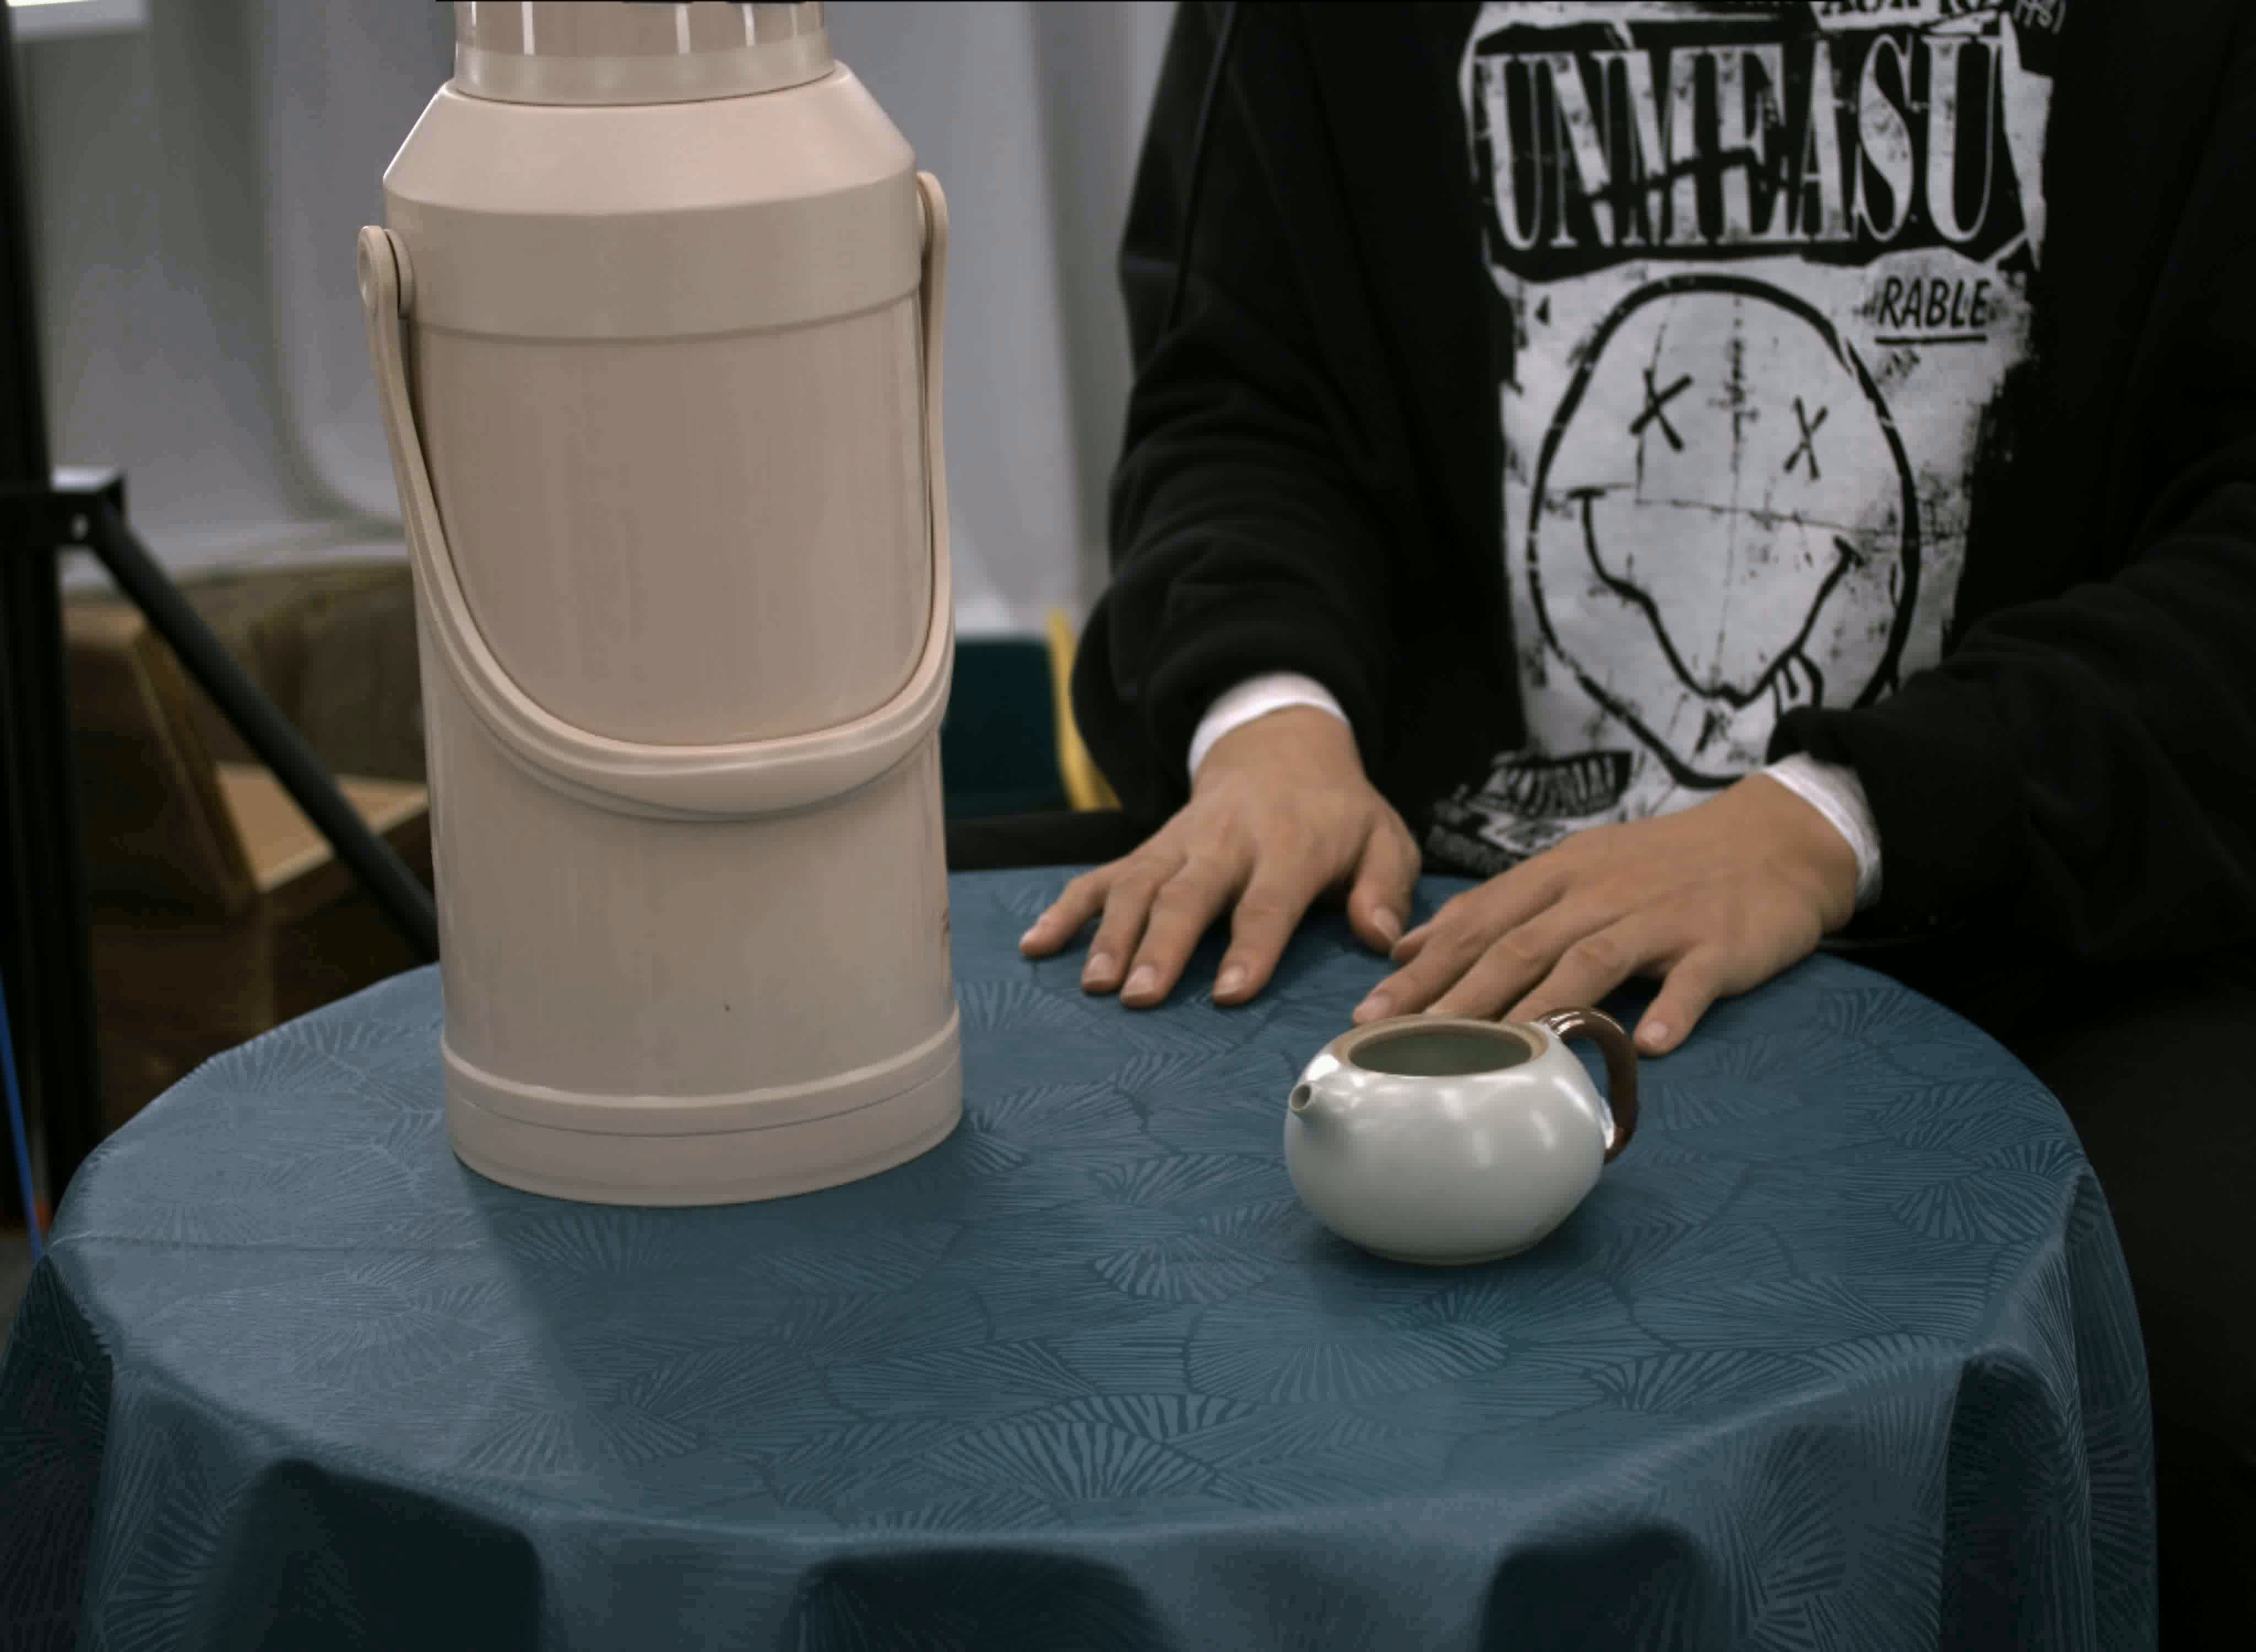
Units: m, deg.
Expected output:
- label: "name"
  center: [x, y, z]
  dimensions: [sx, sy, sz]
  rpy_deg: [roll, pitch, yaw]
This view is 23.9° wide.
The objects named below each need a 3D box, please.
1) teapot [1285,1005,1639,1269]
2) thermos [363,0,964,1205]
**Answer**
- label: "teapot"
  center: [0.098, 0.087, 1.504]
  dimensions: [0.125, 0.059, 0.094]
  rpy_deg: [-15, 16, -36]
- label: "thermos"
  center: [-0.139, -0.104, 1.602]
  dimensions: [0.172, 0.406, 0.211]
  rpy_deg: [-9, 17, -21]
